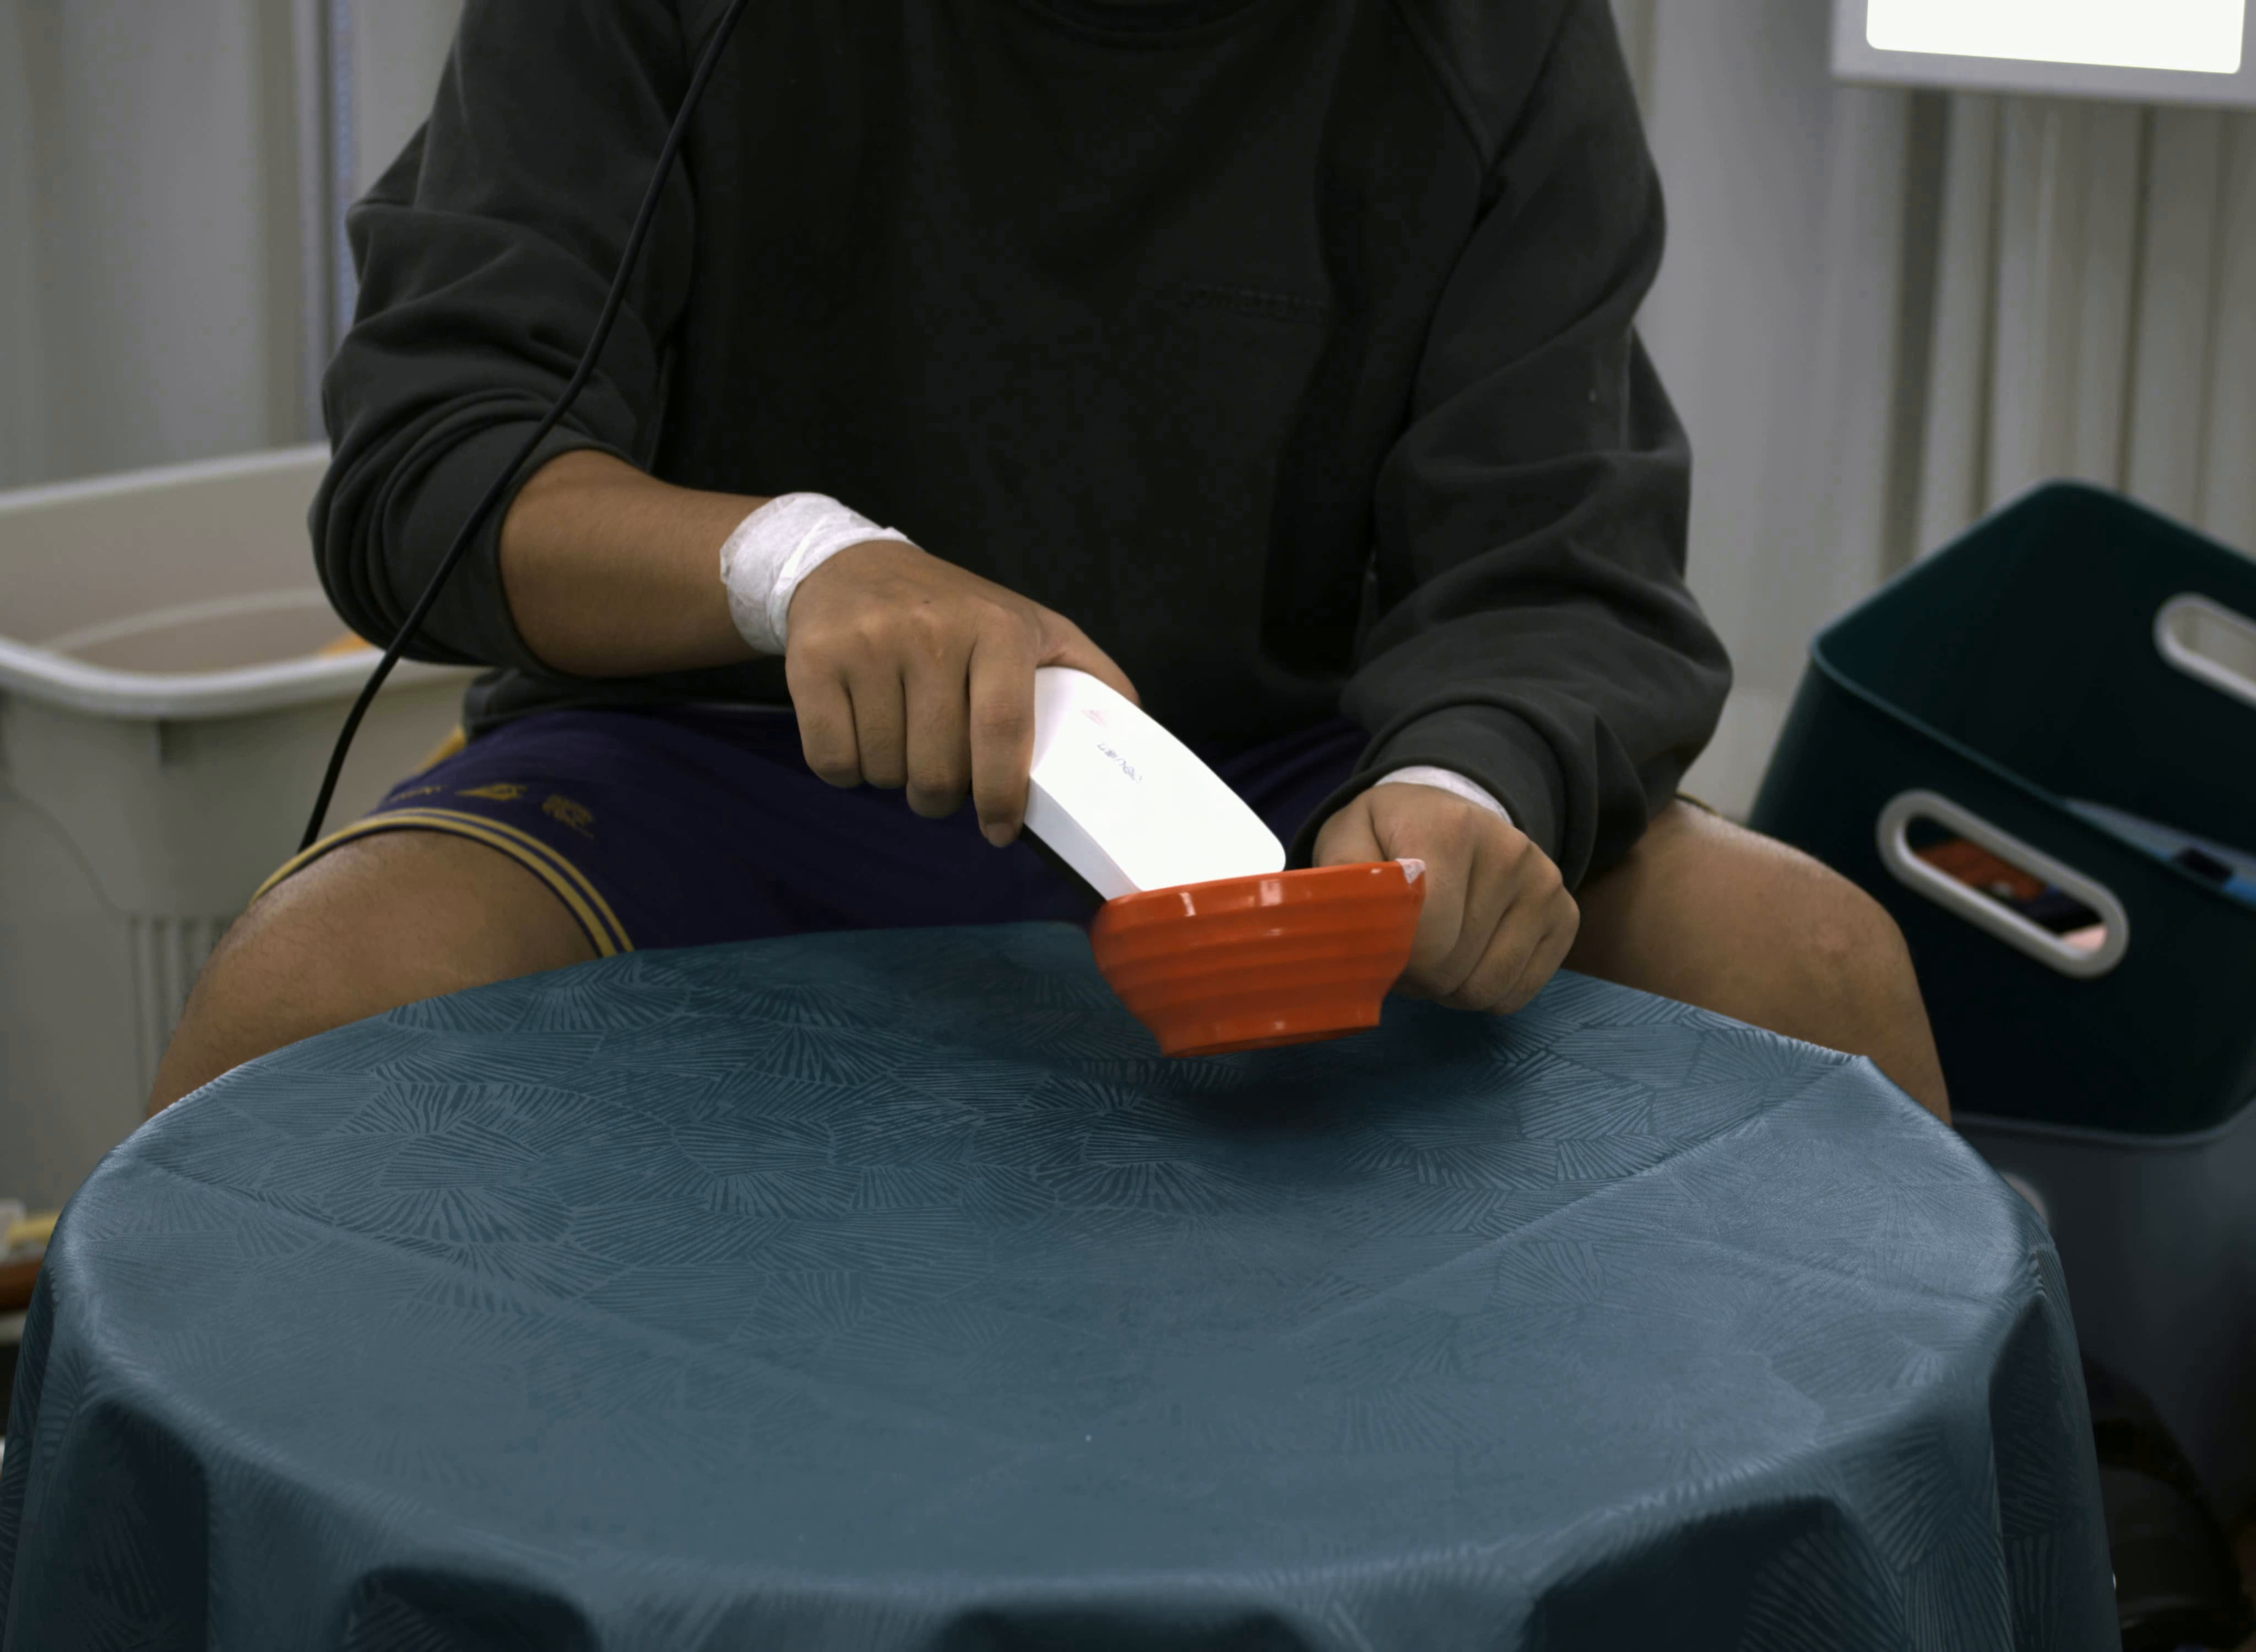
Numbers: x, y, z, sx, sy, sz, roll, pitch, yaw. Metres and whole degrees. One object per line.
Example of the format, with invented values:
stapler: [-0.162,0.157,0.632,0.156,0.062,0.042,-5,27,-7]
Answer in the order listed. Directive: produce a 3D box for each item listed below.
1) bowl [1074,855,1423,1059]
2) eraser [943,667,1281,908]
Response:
bowl: [0.041,0.044,1.684,0.118,0.051,0.119,-8,-5,0]
eraser: [-0.006,-0.008,1.744,0.063,0.035,0.129,-14,45,-36]
